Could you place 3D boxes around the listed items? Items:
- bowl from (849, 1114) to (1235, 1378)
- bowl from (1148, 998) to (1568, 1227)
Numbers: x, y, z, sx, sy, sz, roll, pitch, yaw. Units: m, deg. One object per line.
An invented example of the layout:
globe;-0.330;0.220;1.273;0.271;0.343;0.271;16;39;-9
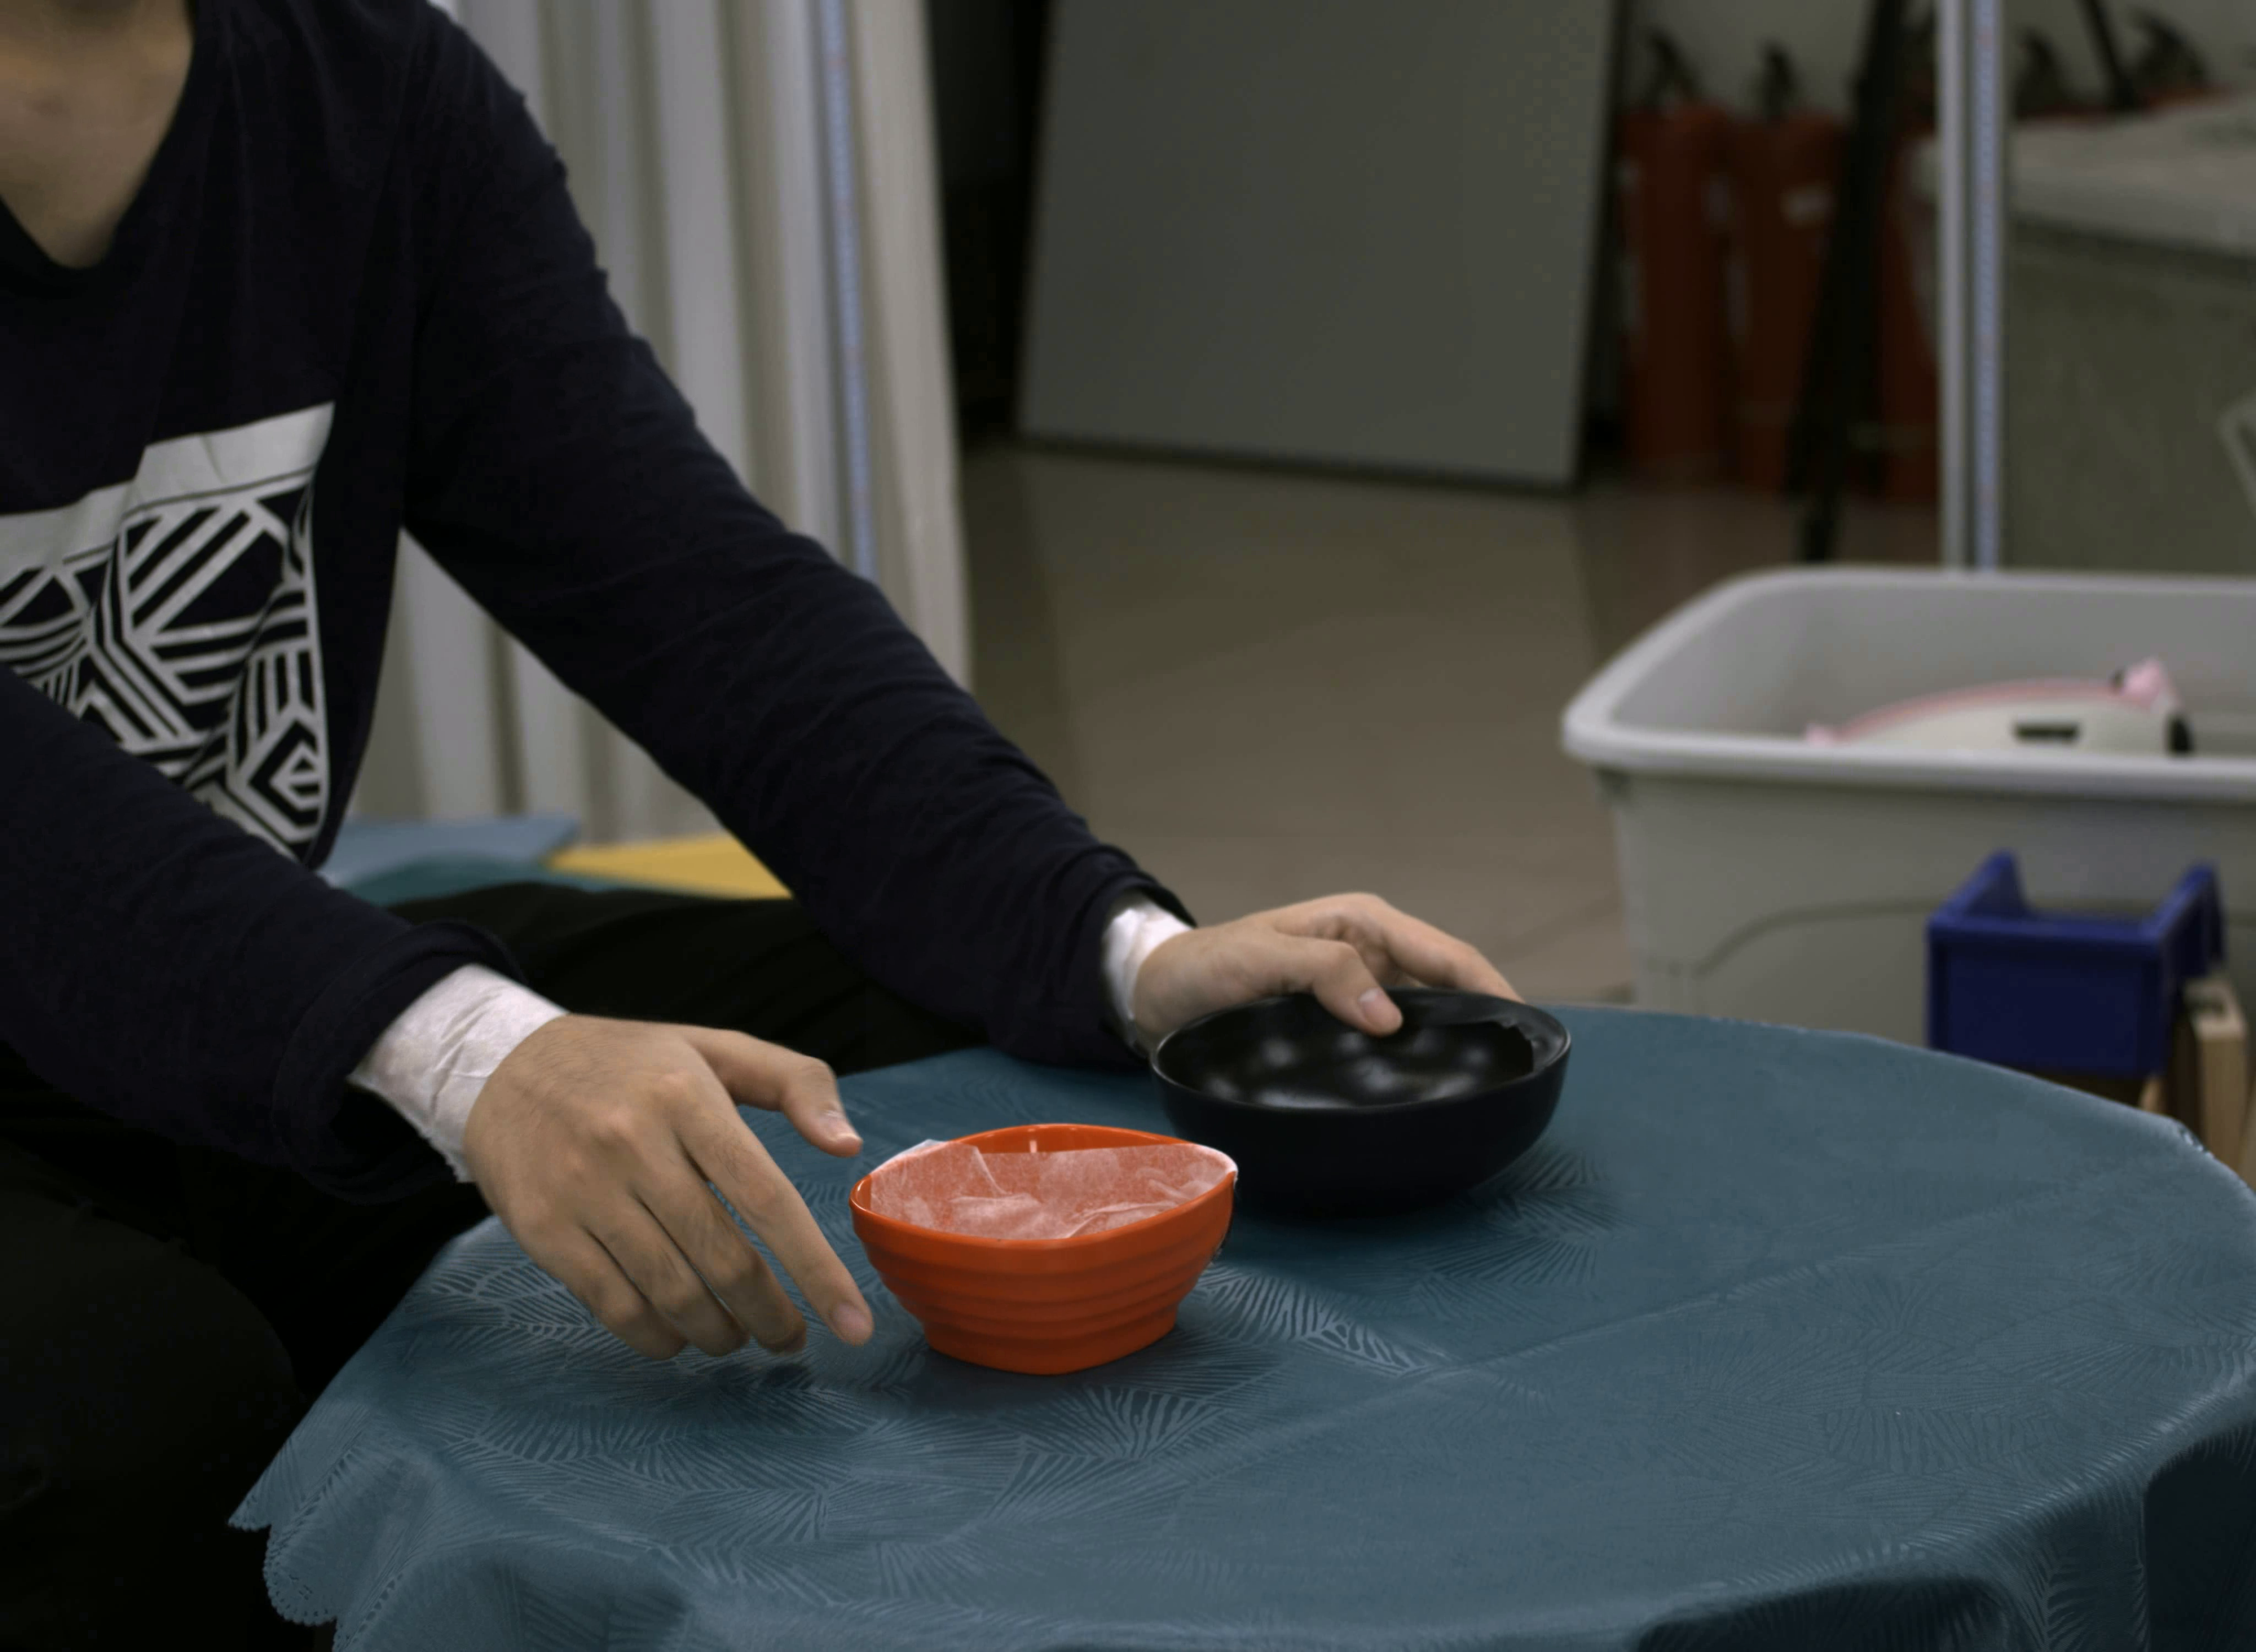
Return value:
bowl;-0.025;0.129;1.635;0.117;0.052;0.119;-4;16;0
bowl;0.077;0.097;1.756;0.138;0.050;0.140;-6;11;0
